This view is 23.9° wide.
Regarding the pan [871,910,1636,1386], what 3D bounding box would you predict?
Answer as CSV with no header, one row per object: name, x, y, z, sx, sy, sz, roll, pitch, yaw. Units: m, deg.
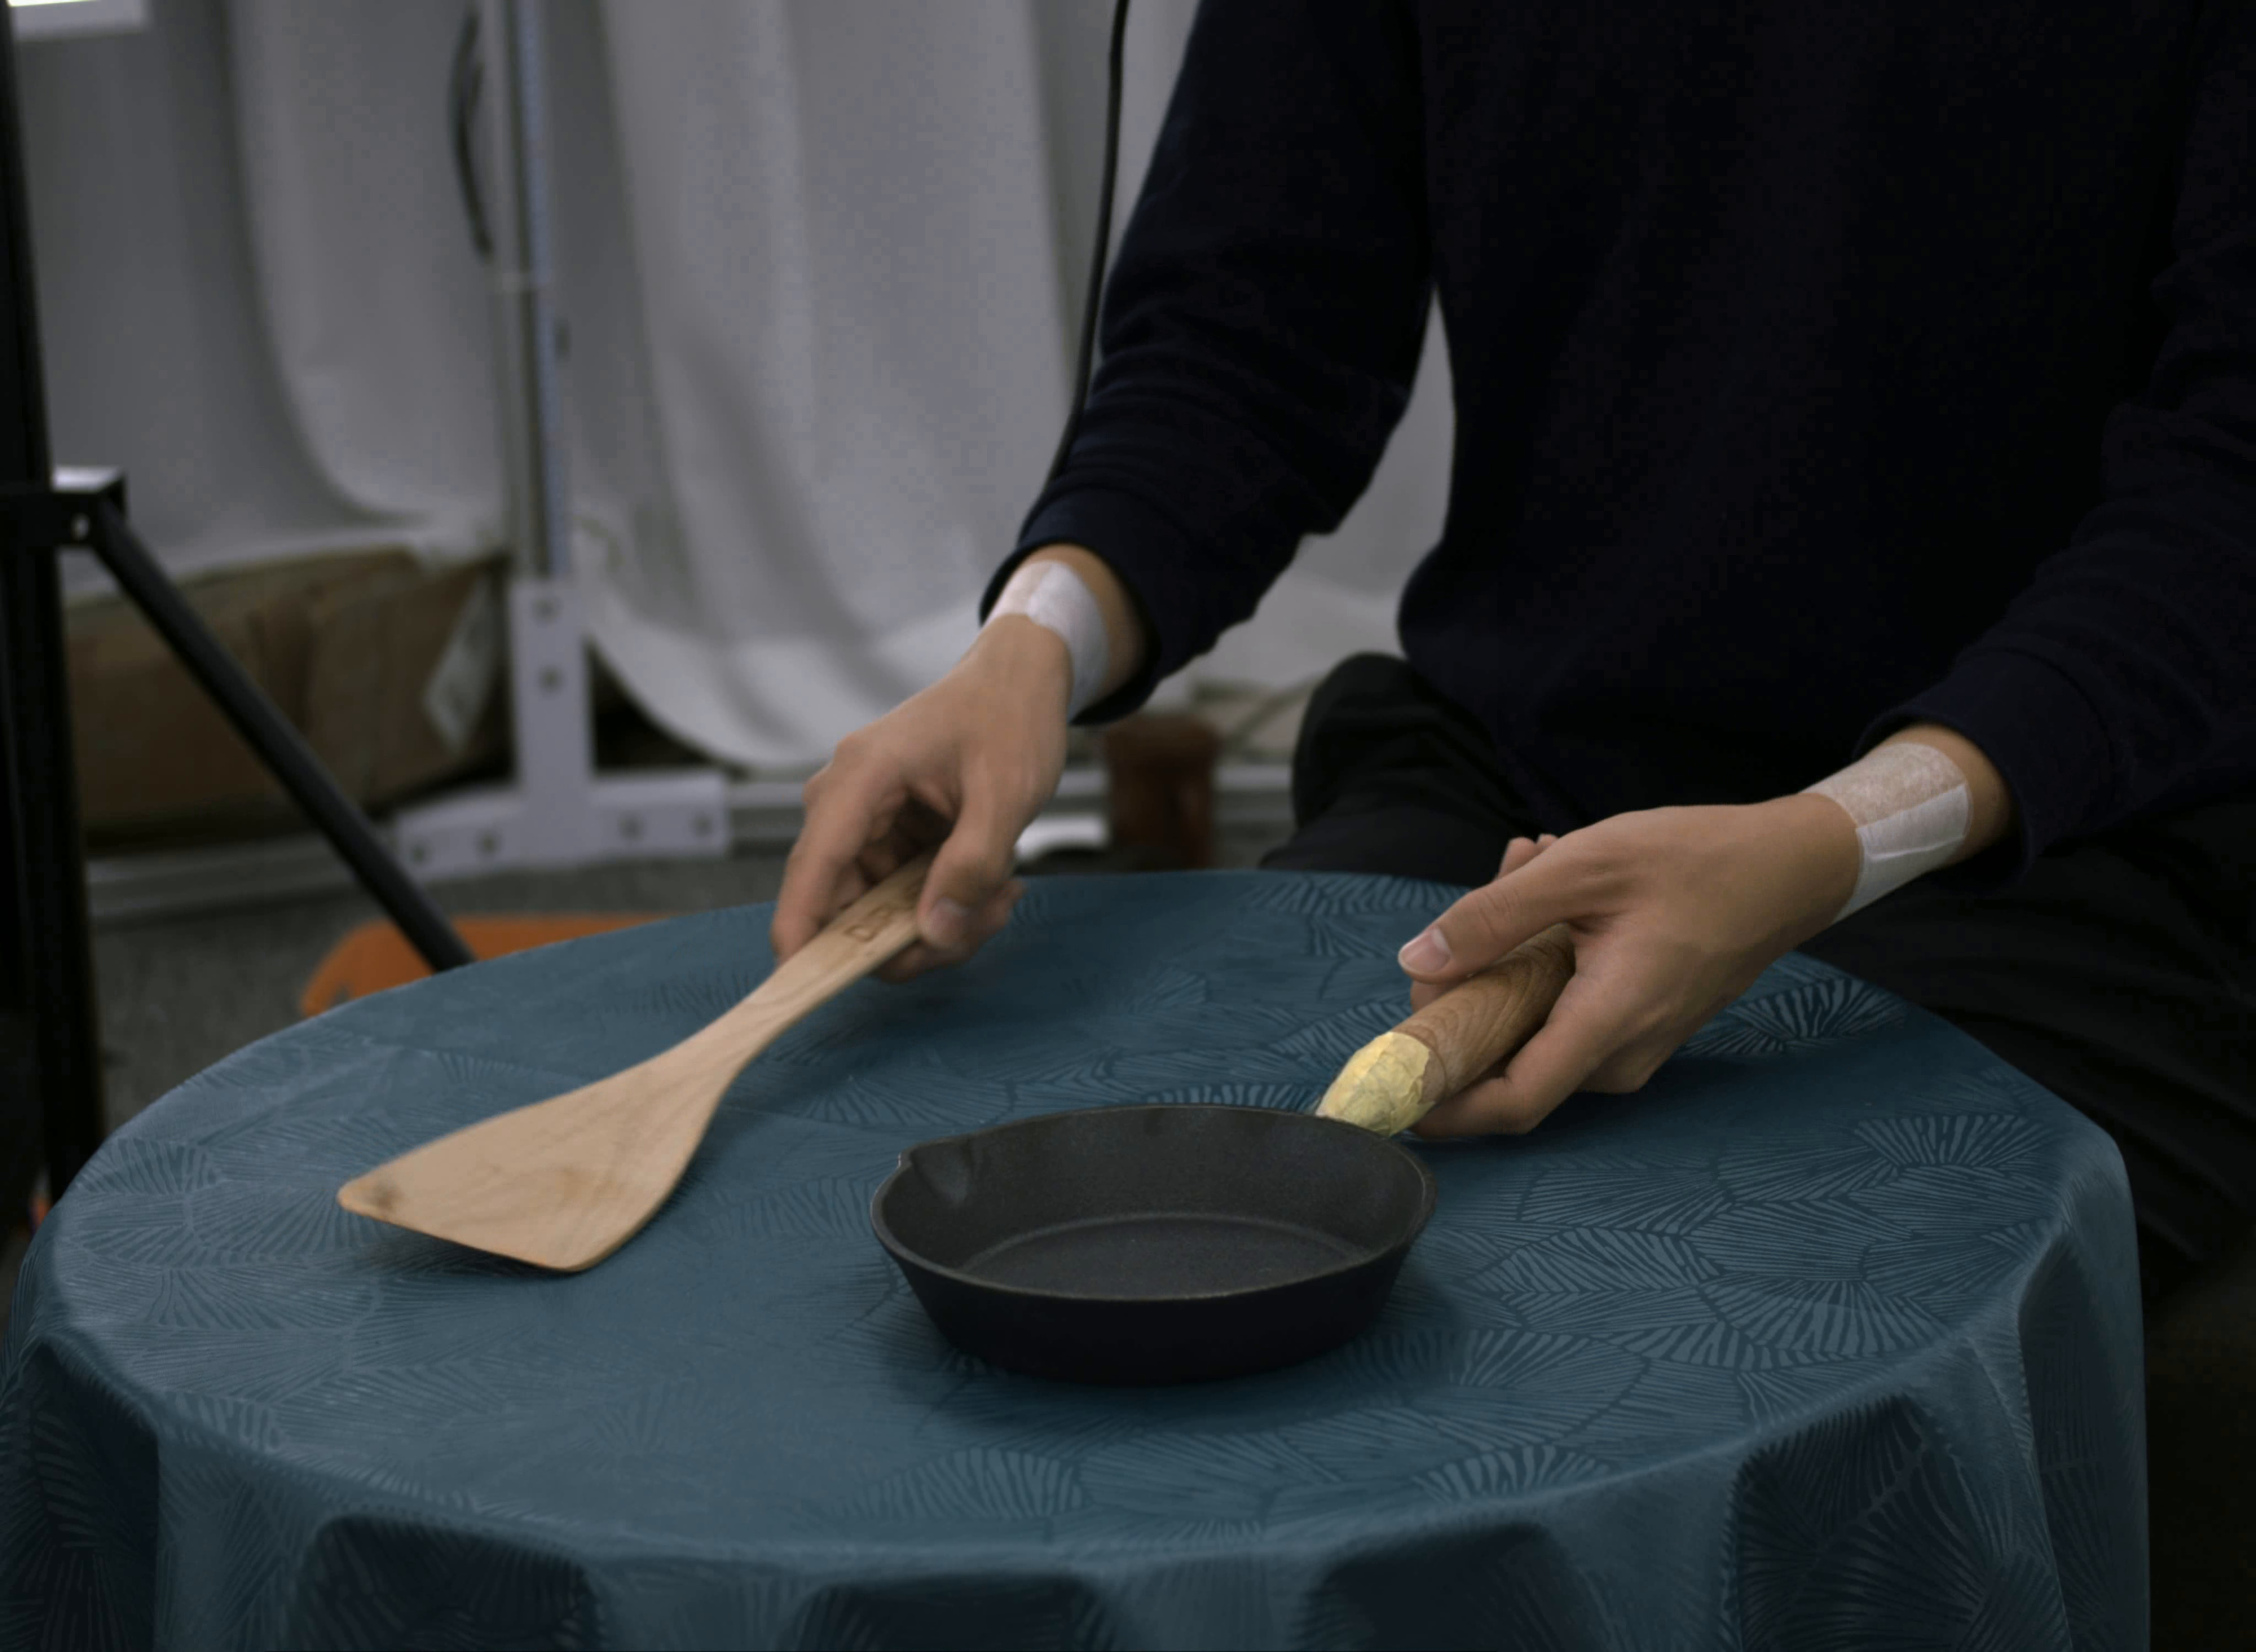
pan,0.059,0.089,1.524,0.172,0.049,0.317,10,21,37

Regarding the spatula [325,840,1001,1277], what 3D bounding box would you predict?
spatula,-0.124,0.064,1.643,0.081,0.016,0.323,21,31,22
